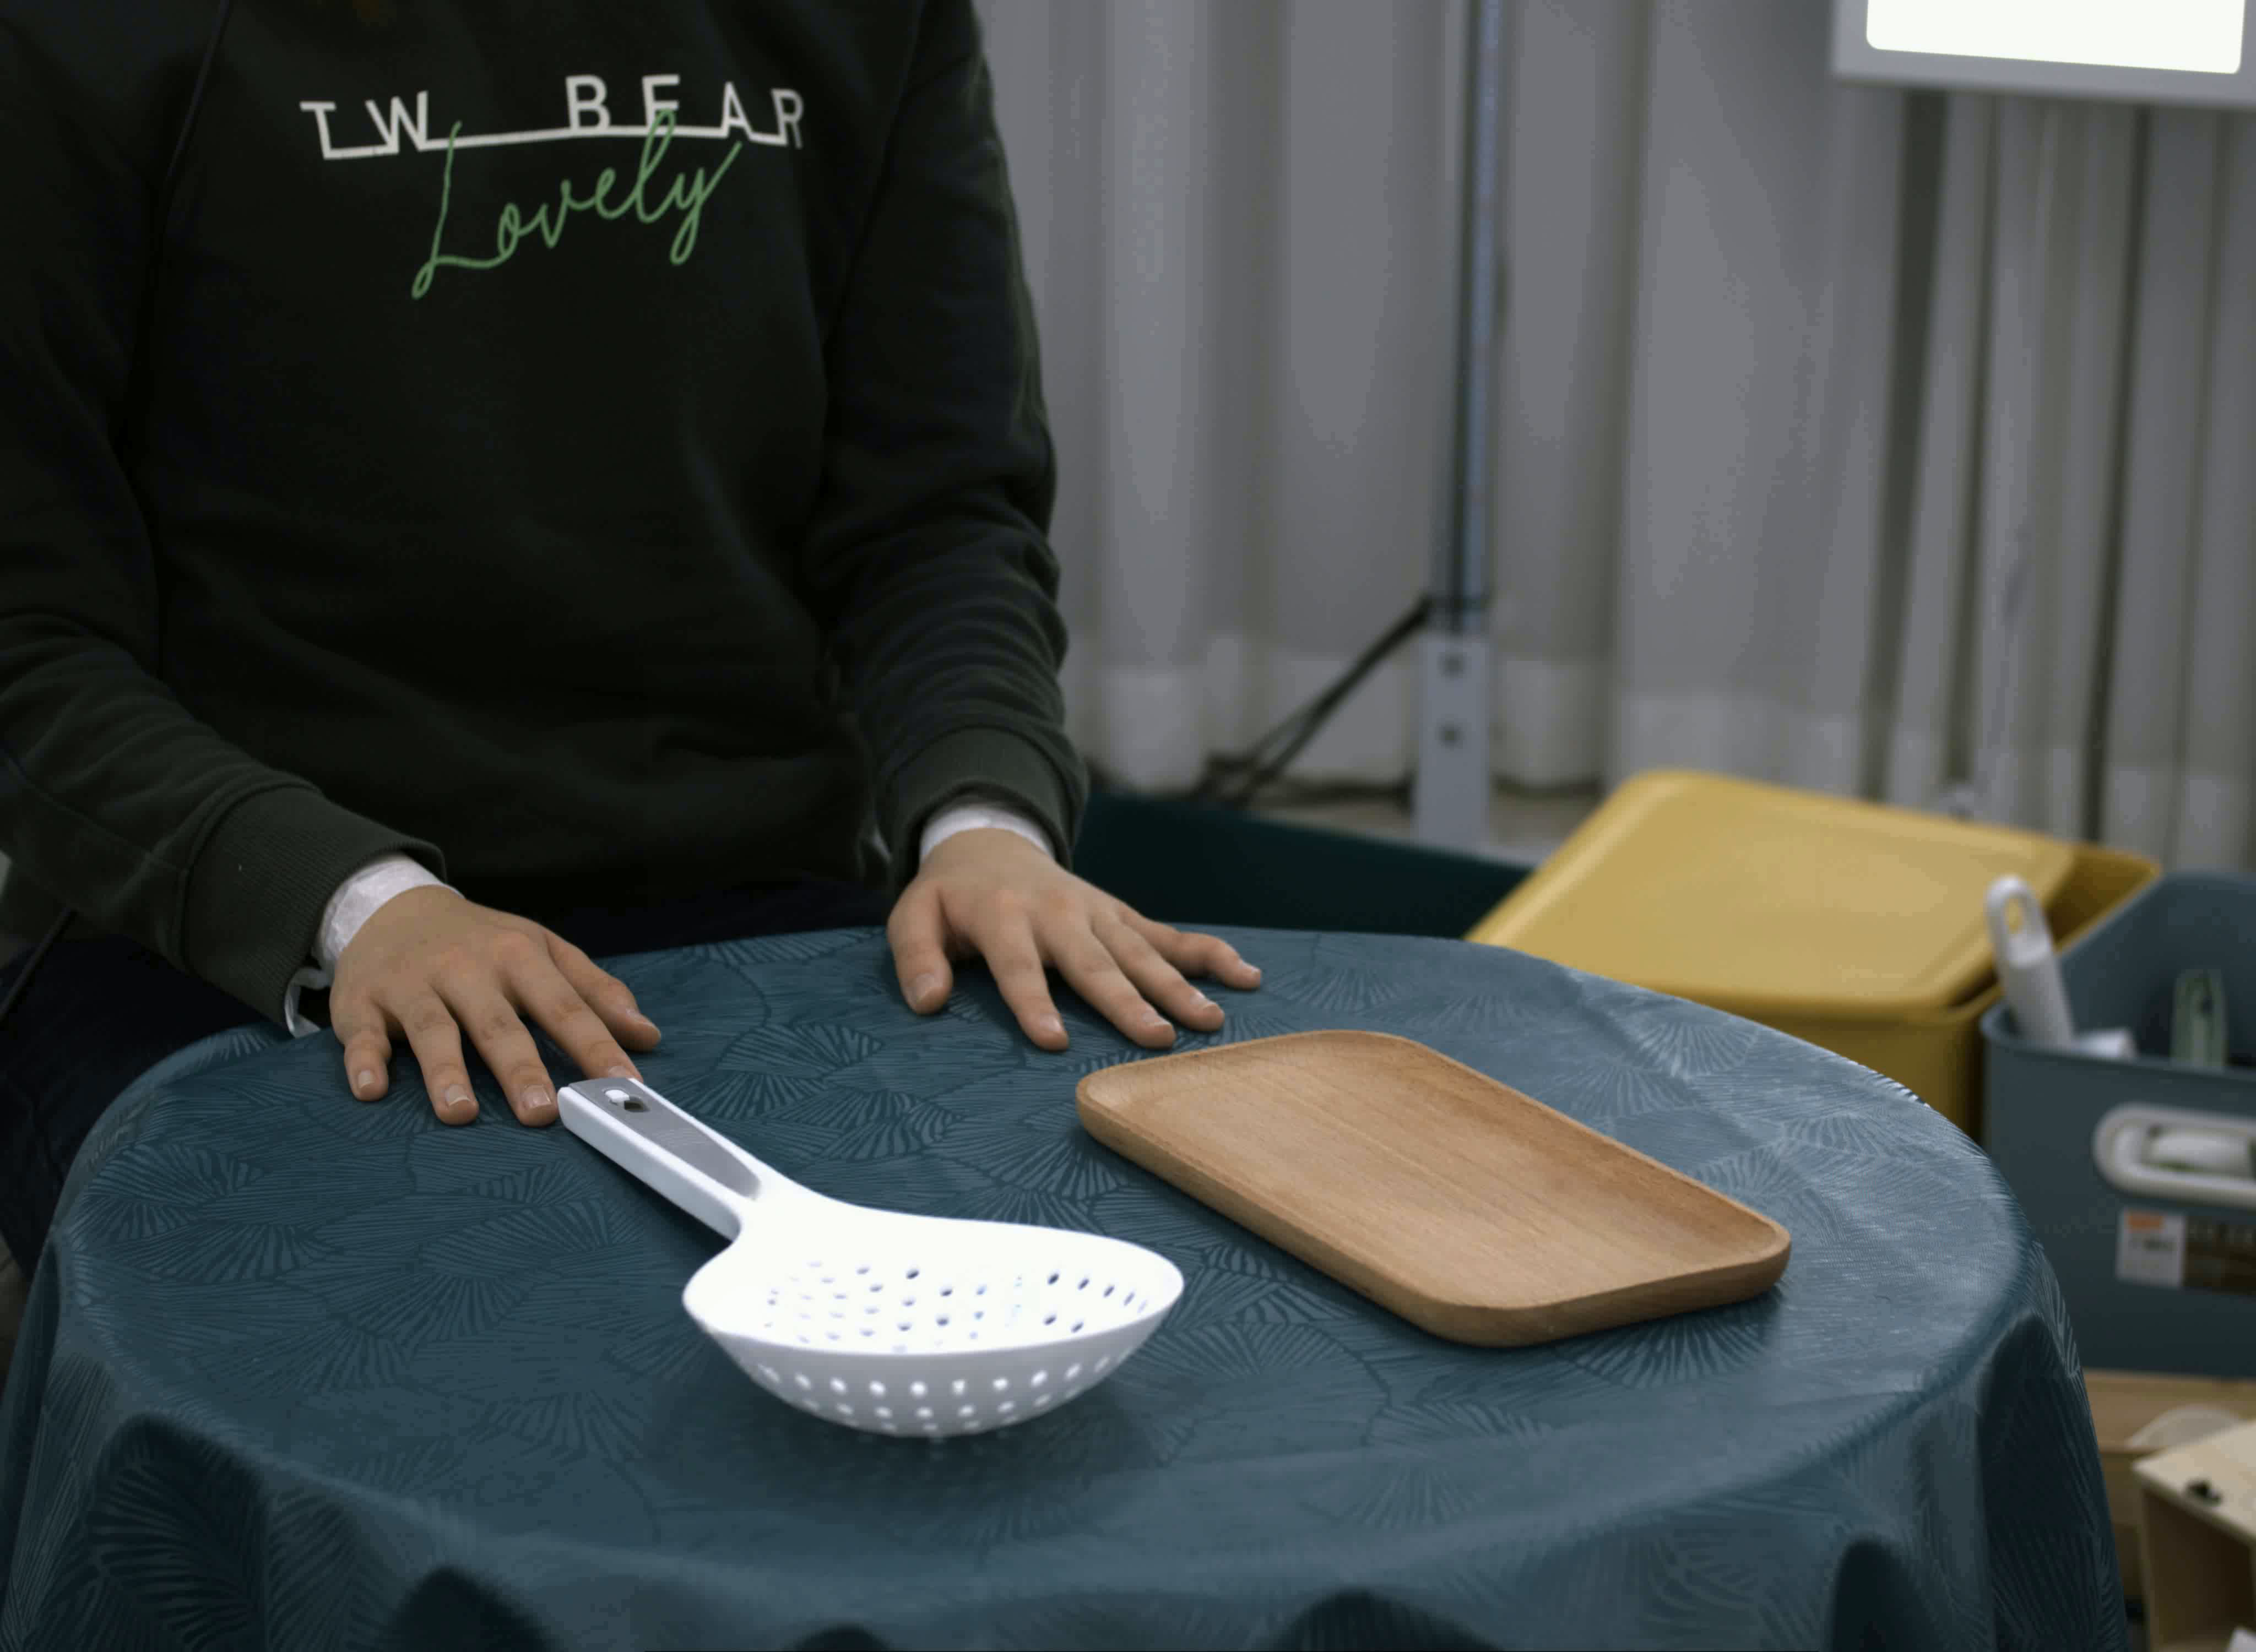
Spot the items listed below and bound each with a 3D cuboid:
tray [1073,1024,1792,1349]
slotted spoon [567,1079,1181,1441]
[{"bbox_3d":[0.089,0.108,1.616,0.131,0.023,0.247,-6,16,-29],"label":"tray"},{"bbox_3d":[-0.098,0.116,1.527,0.136,0.046,0.345,-4,16,-24],"label":"slotted spoon"}]
